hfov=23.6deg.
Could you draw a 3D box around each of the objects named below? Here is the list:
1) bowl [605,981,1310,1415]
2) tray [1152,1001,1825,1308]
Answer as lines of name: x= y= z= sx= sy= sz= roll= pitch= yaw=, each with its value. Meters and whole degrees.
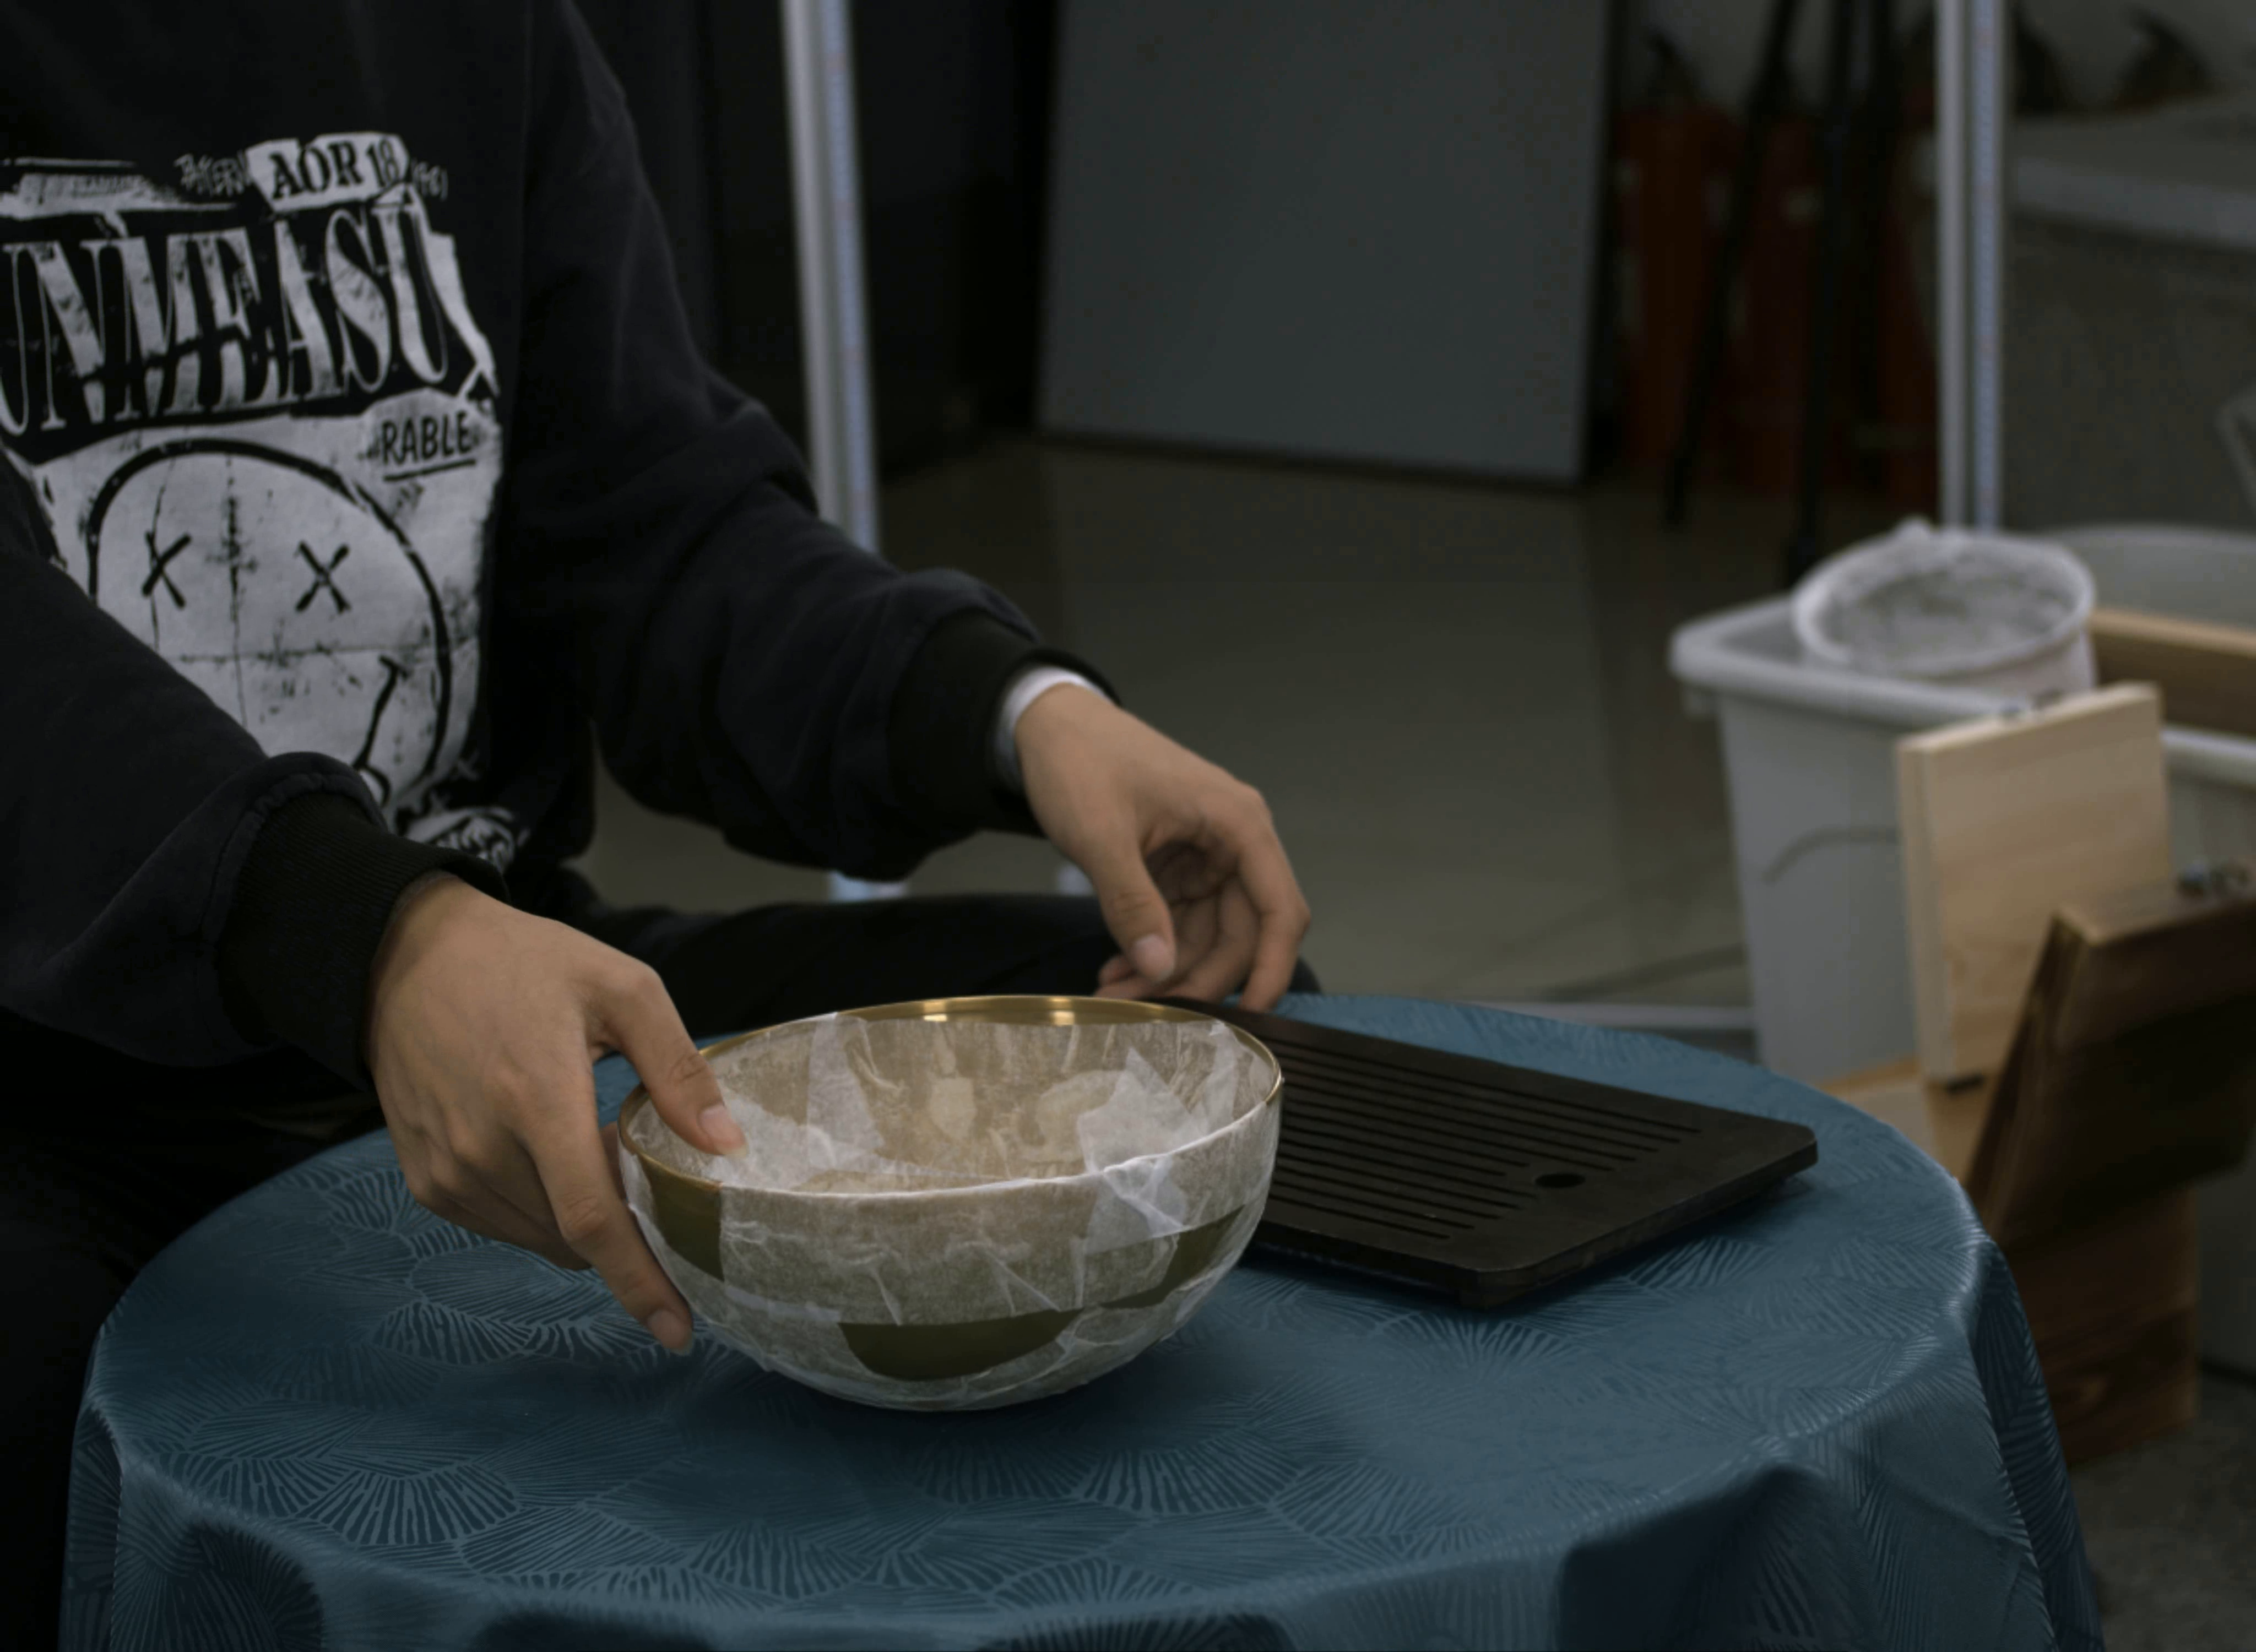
bowl: x=-0.048 y=0.118 z=1.604 sx=0.212 sy=0.095 sz=0.215 roll=-5 pitch=14 yaw=0
tray: x=0.065 y=0.105 z=1.780 sx=0.309 sy=0.019 sz=0.166 roll=9 pitch=19 yaw=44
